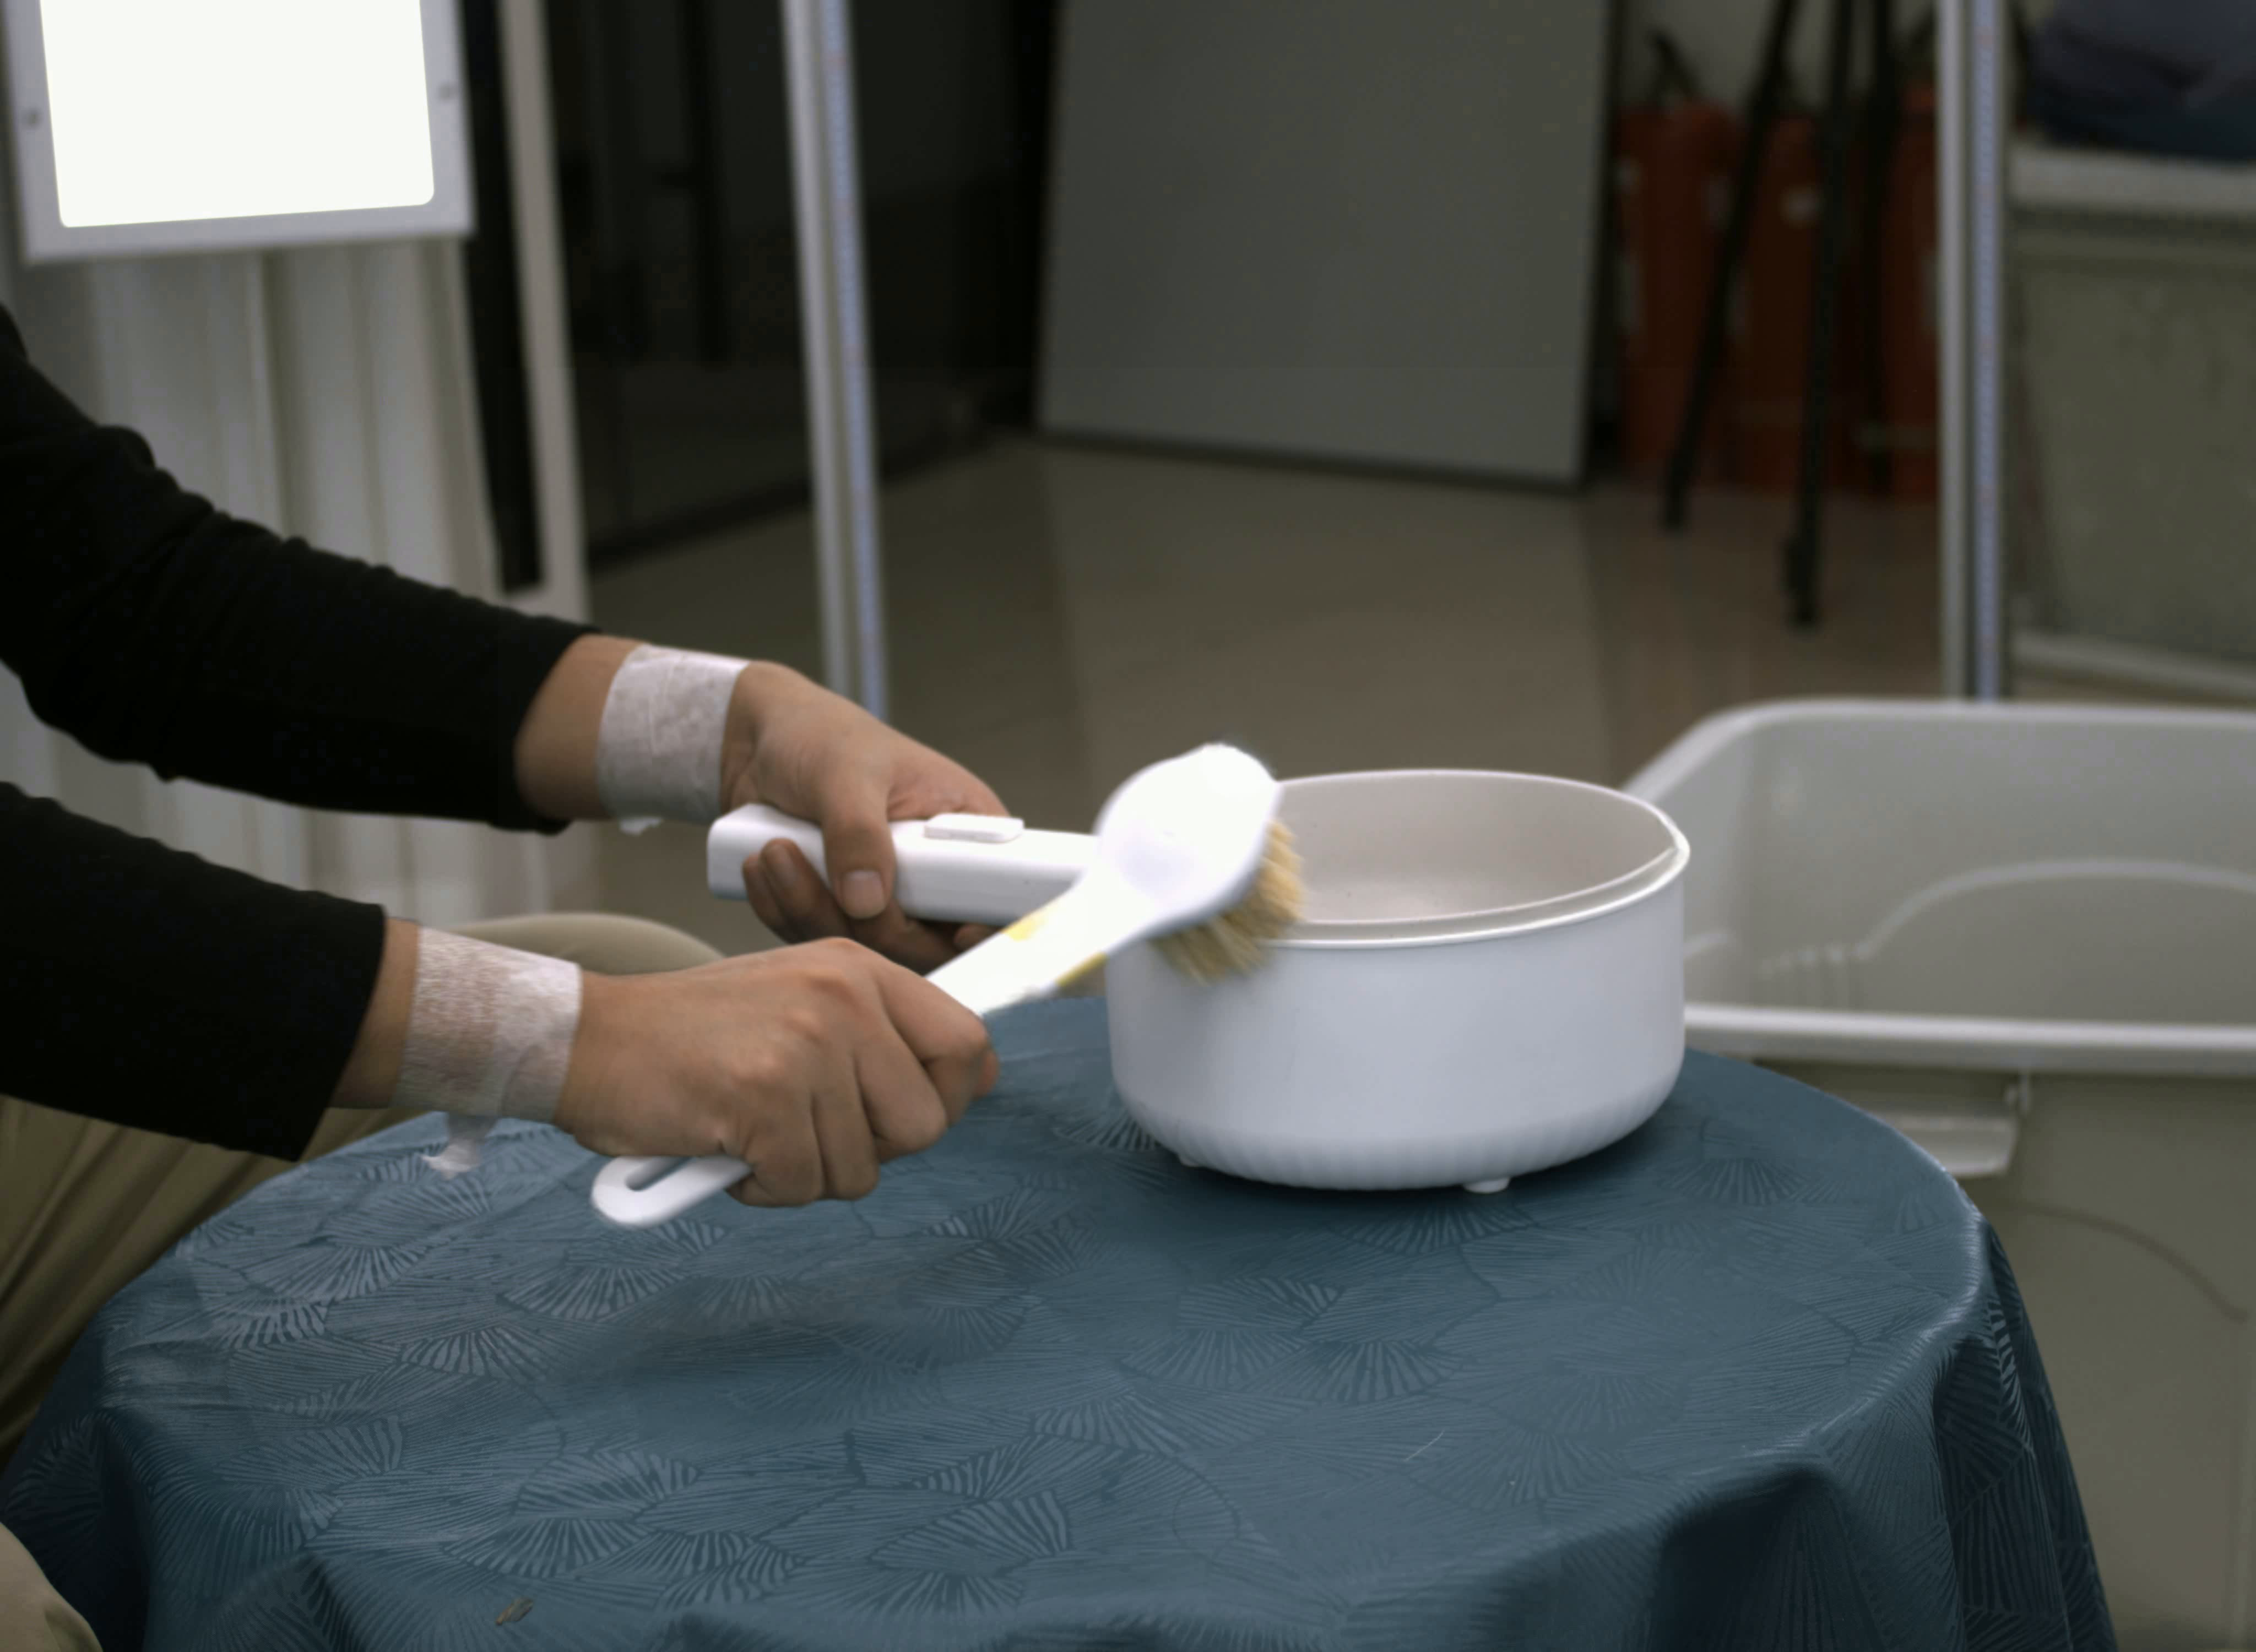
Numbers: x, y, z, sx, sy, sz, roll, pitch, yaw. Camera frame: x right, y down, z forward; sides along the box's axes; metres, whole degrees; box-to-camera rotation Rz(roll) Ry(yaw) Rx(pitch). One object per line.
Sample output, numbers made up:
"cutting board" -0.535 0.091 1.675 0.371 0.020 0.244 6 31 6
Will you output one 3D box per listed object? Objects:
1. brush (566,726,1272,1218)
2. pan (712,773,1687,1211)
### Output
"brush" -0.063 0.060 1.680 0.263 0.056 0.069 -36 43 -23
"pan" 0.021 0.056 1.838 0.355 0.103 0.199 1 17 27
